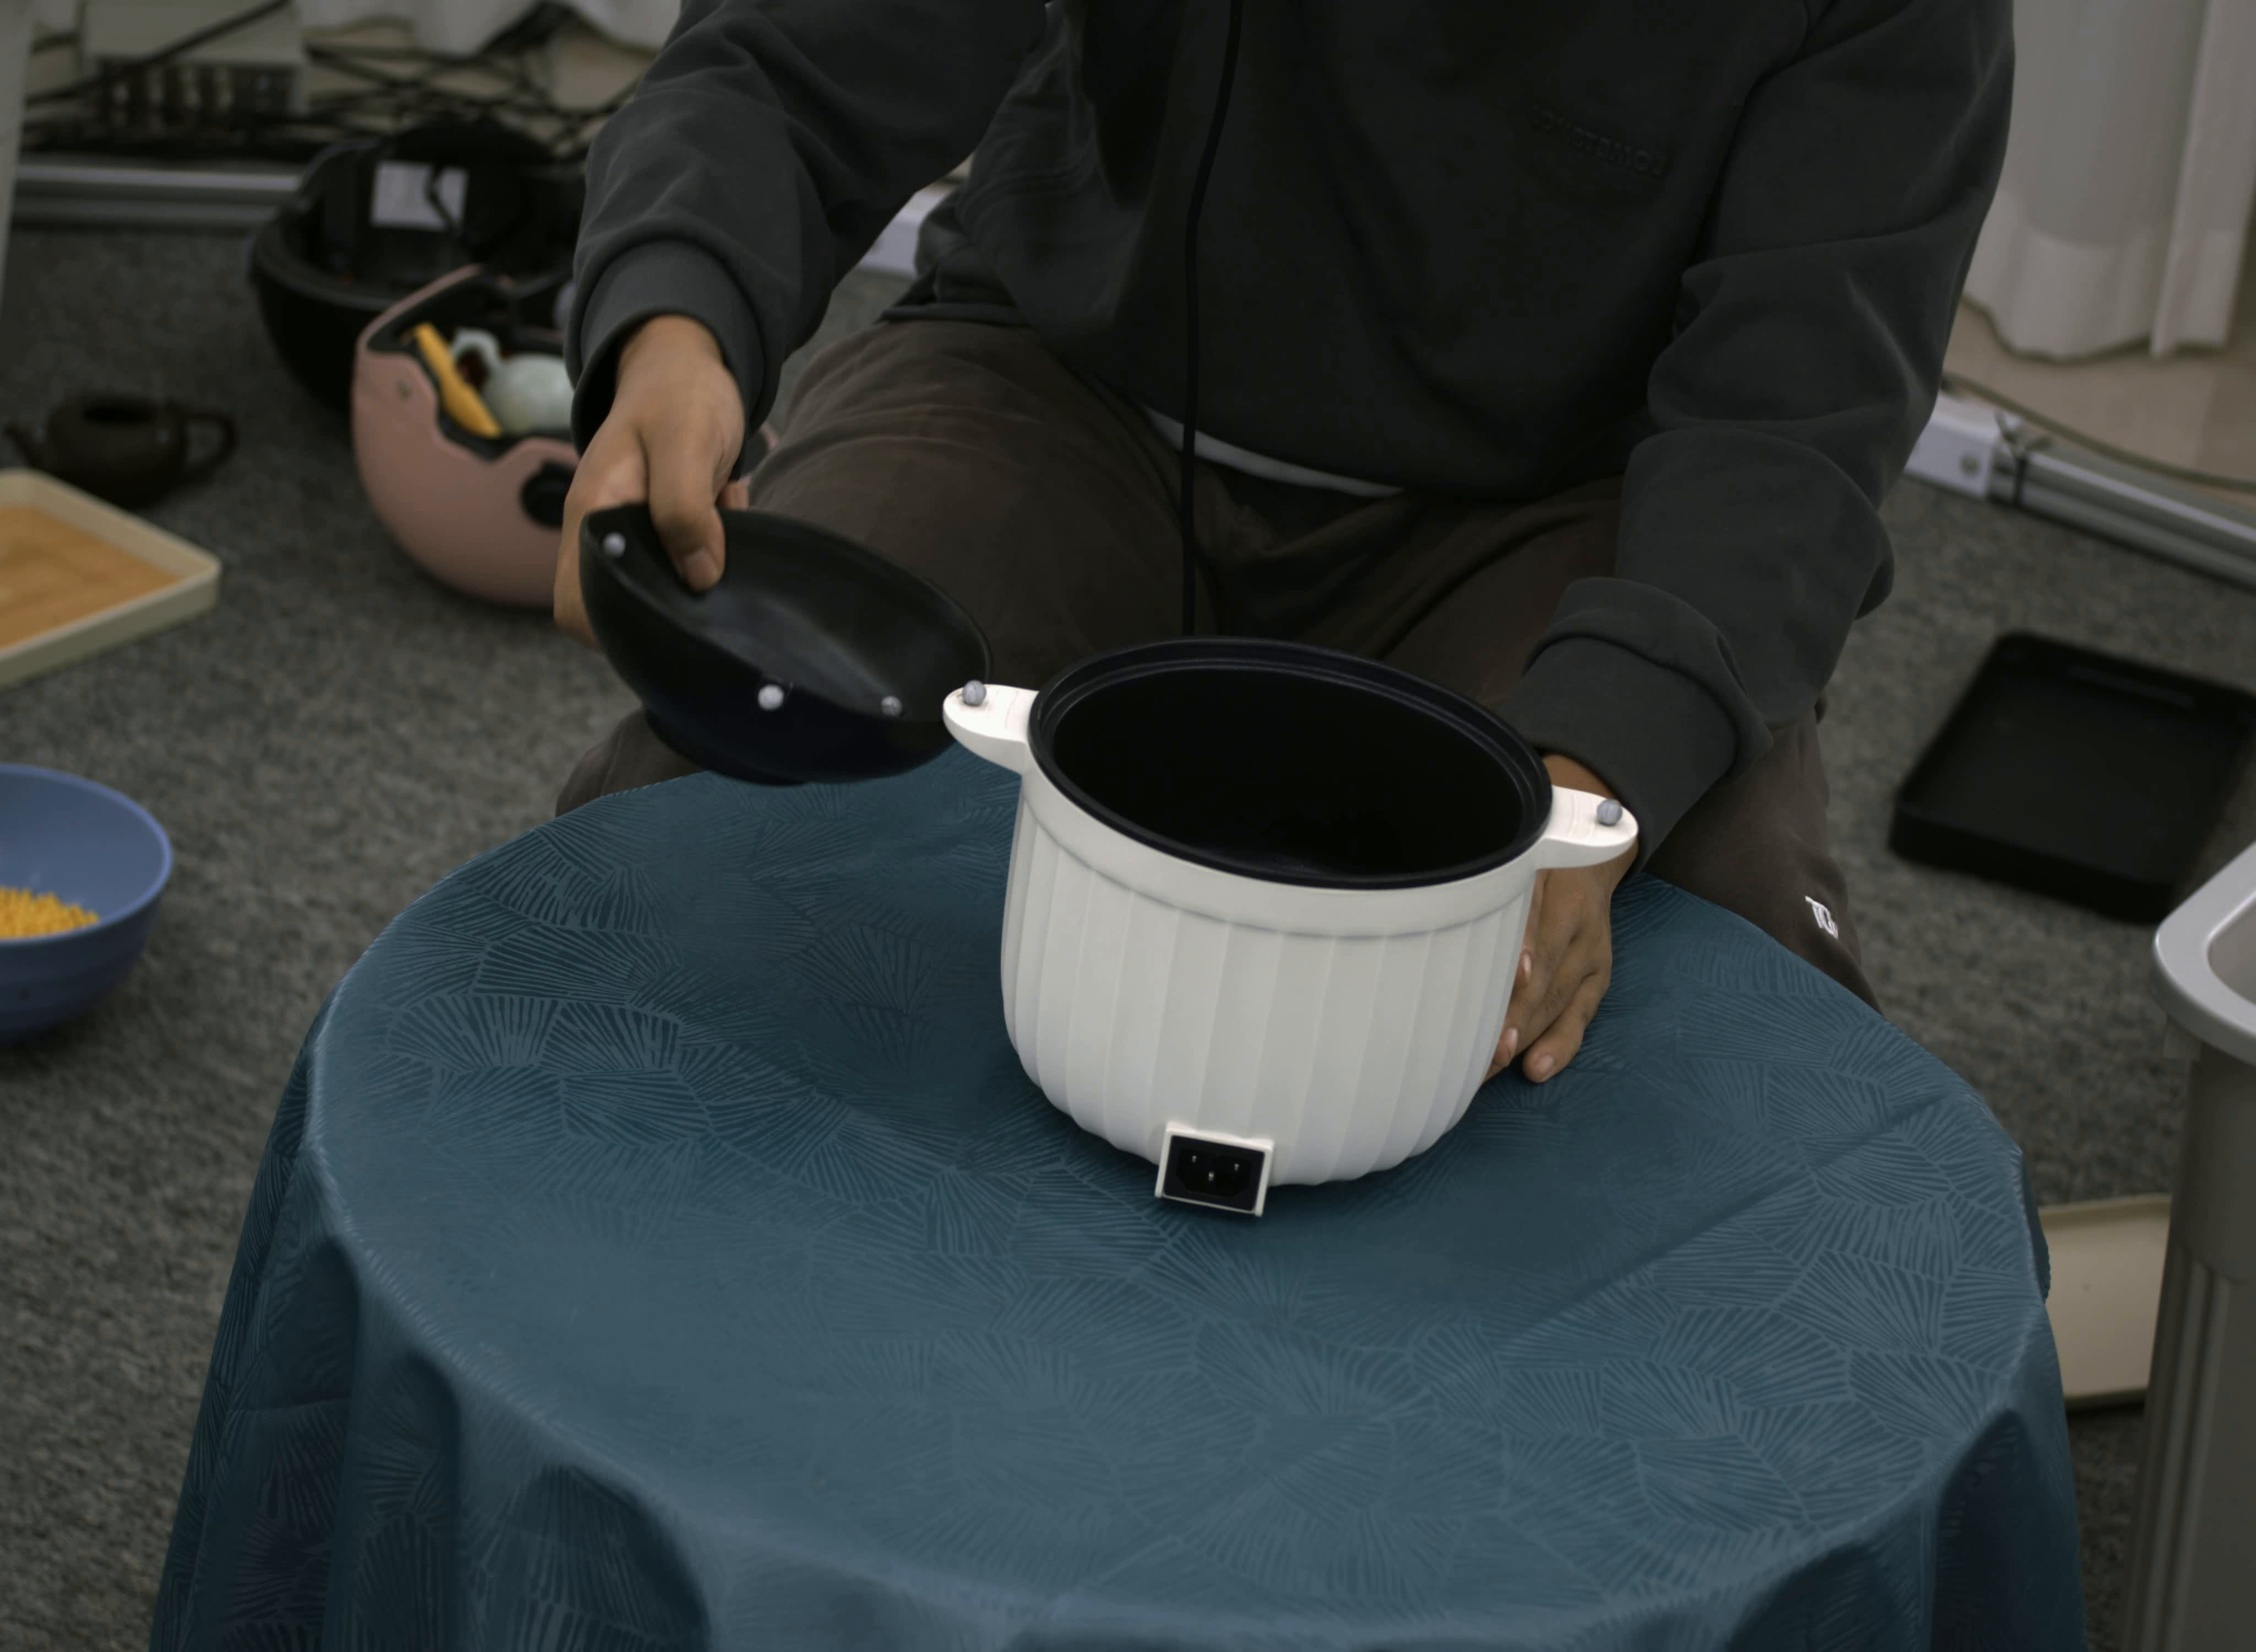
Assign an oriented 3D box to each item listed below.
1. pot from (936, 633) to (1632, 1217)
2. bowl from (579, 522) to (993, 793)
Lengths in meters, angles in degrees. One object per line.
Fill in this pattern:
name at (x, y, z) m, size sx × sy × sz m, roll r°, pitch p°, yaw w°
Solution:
pot at (0.044, 0.031, 1.845) m, size 0.240 × 0.142 × 0.191 m, roll 11°, pitch 30°, yaw 2°
bowl at (-0.129, -0.054, 1.876) m, size 0.136 × 0.066 × 0.171 m, roll -7°, pitch 33°, yaw -46°
